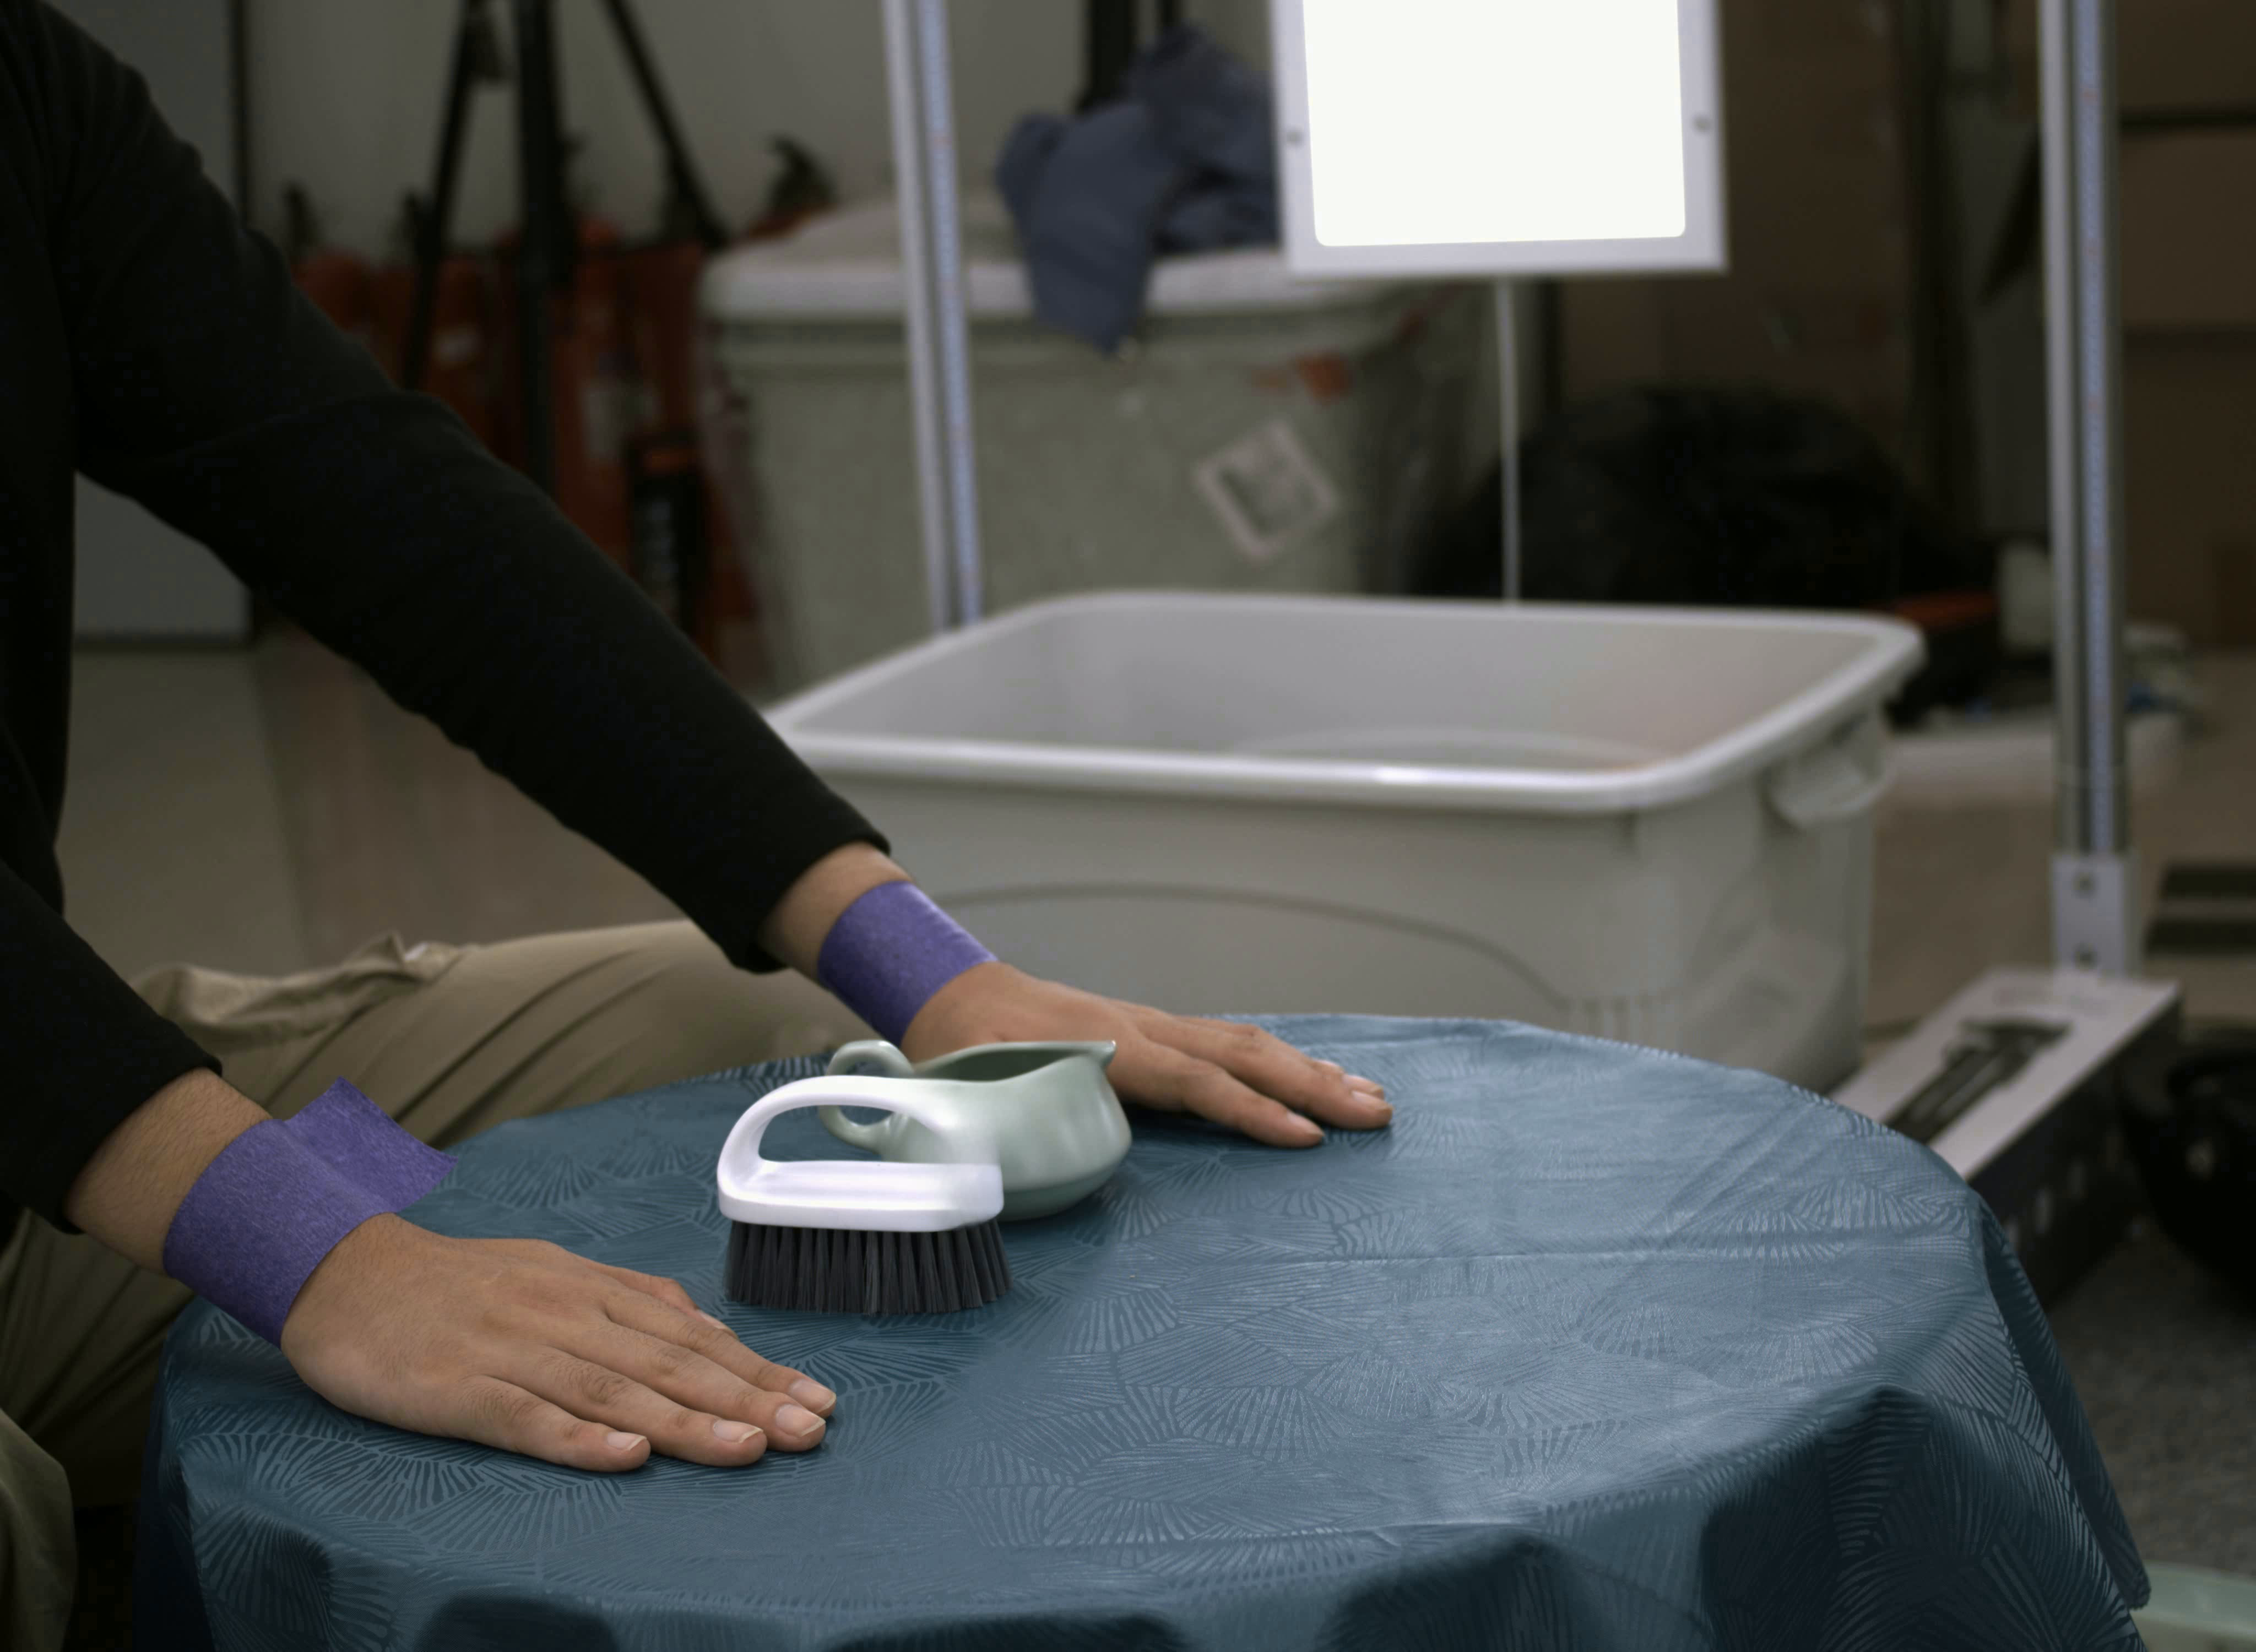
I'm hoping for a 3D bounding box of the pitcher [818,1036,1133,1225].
[{"bbox_3d":[-0.053,0.104,1.894,0.108,0.060,0.085,-5,13,10],"label":"pitcher"}]

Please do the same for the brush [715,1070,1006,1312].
[{"bbox_3d":[-0.089,0.116,1.812,0.101,0.073,0.049,3,14,25],"label":"brush"}]
